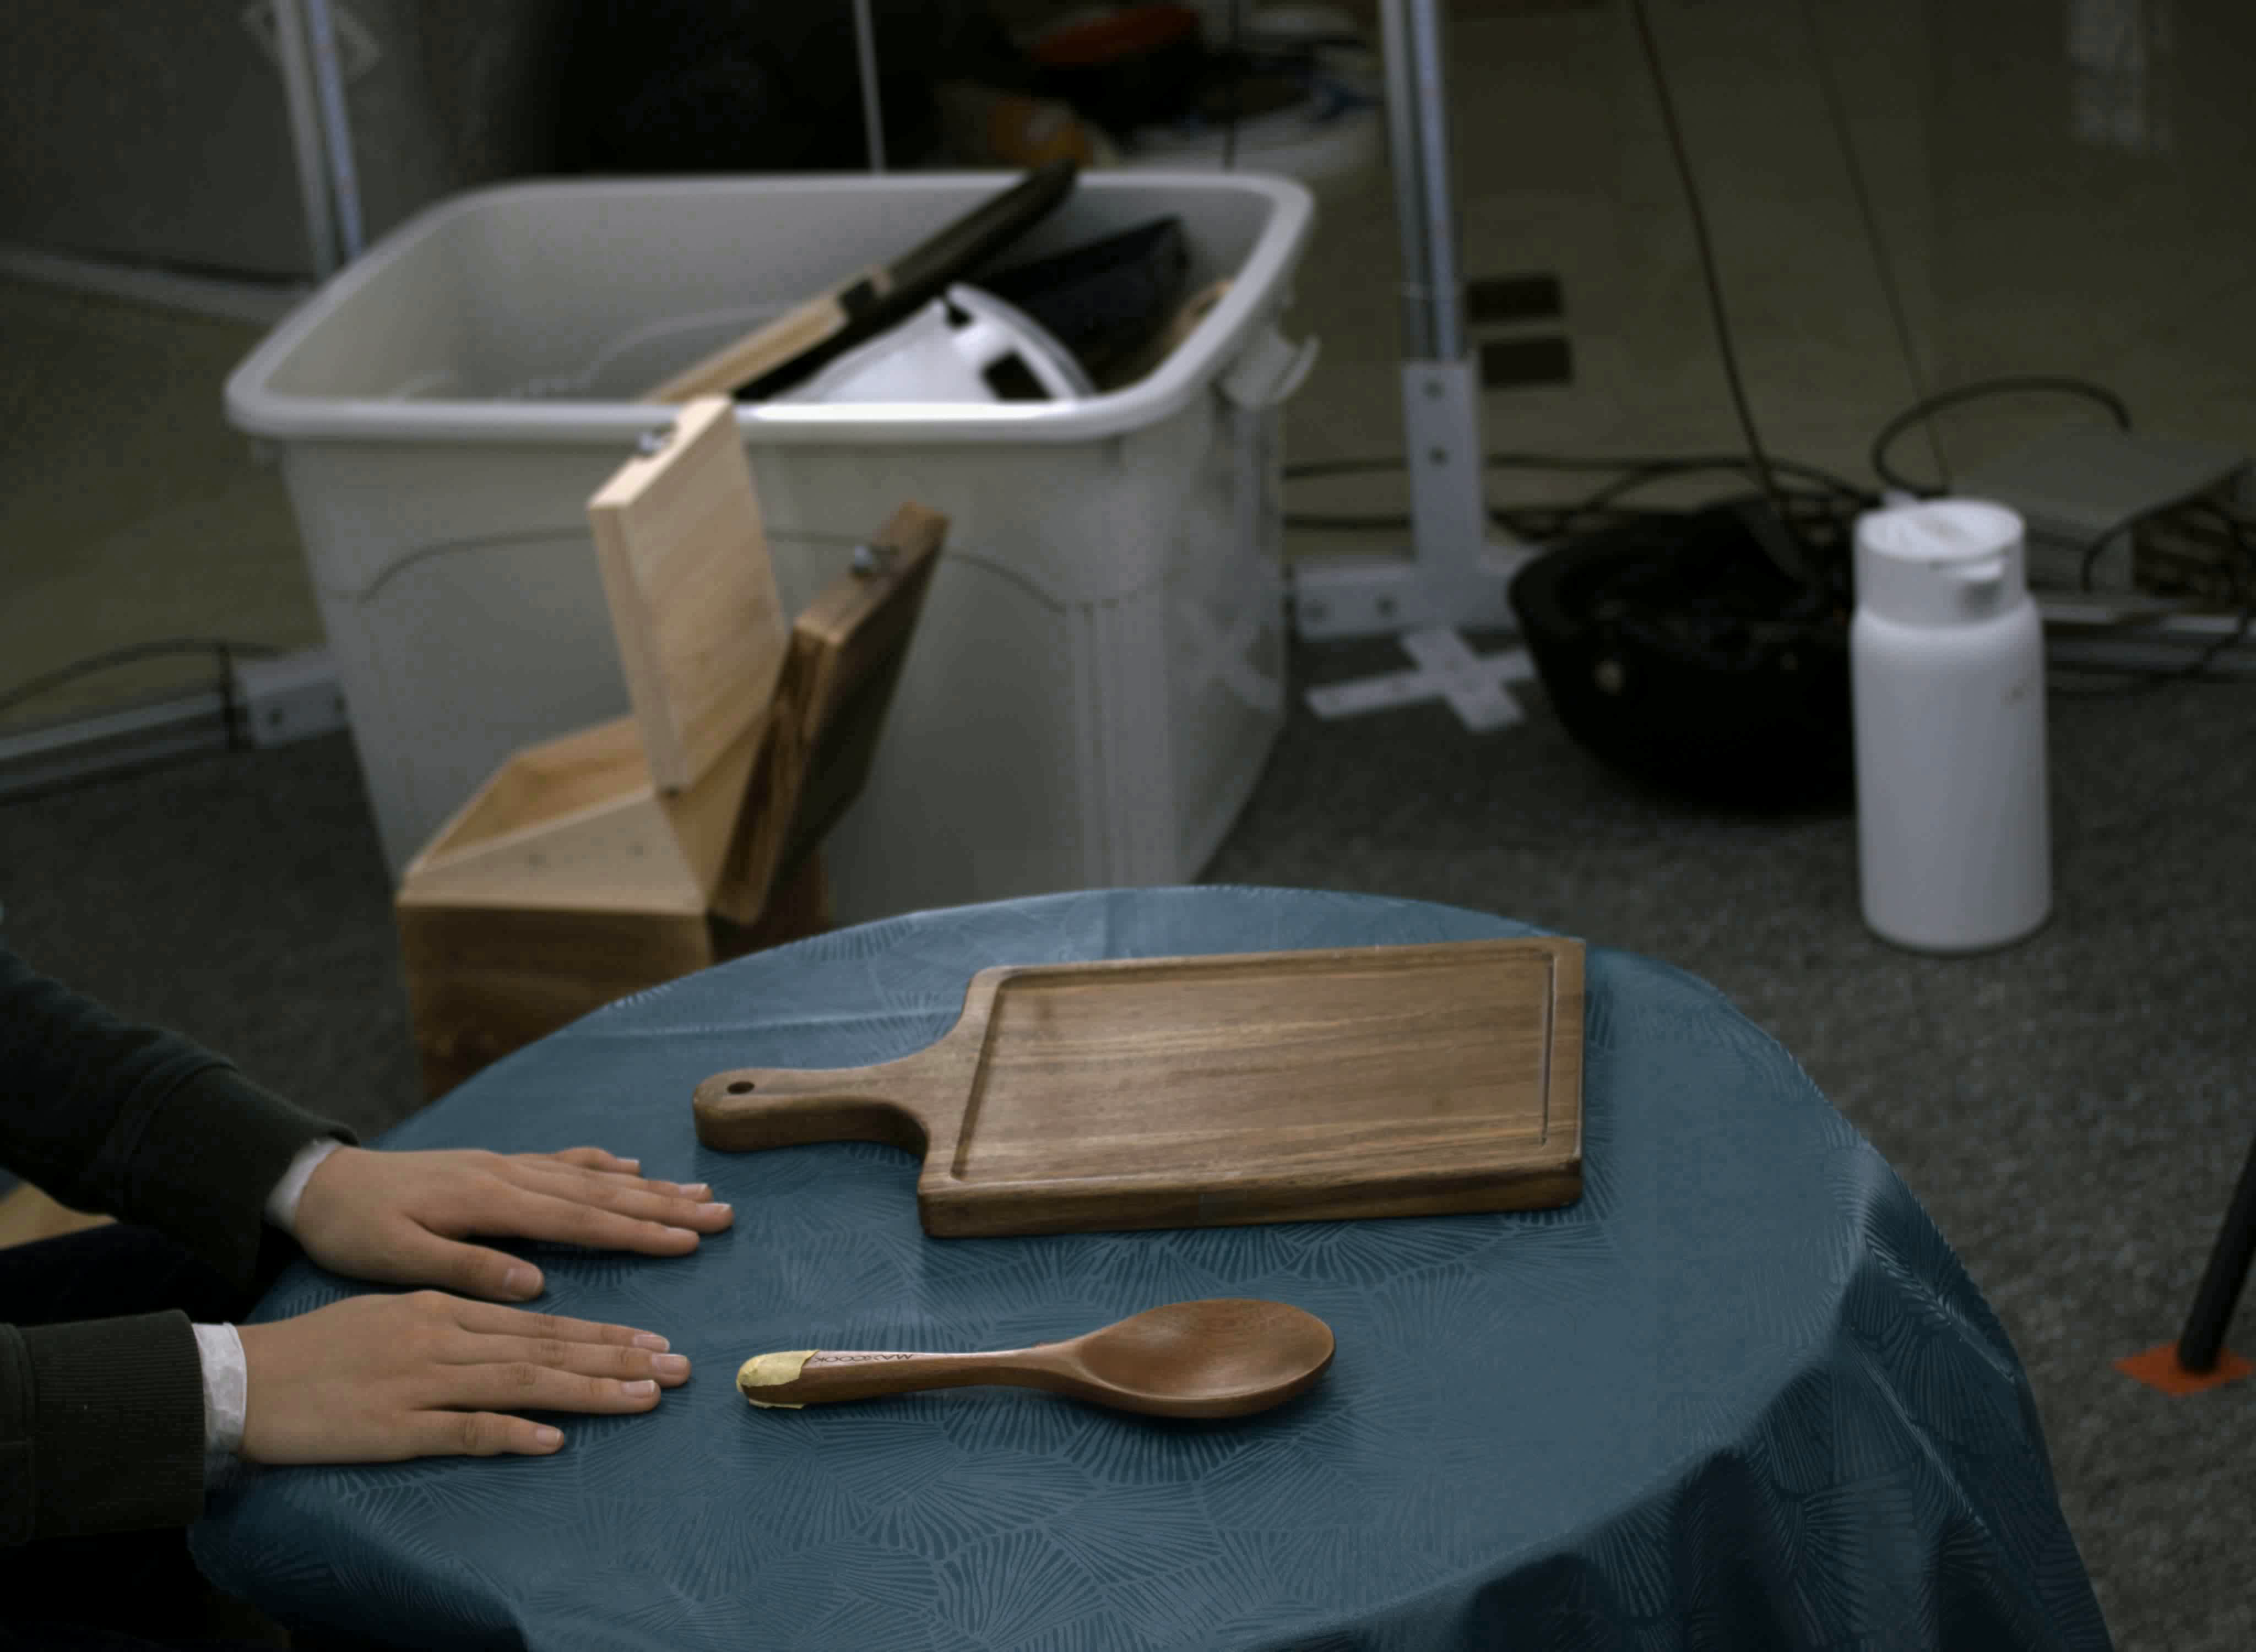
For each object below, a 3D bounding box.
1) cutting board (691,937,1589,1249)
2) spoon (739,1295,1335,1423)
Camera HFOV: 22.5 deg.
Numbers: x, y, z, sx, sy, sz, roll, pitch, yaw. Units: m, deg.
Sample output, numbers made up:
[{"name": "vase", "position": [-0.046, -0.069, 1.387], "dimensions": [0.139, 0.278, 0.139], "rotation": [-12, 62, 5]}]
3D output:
[{"name": "cutting board", "position": [0.004, 0.104, 2.207], "dimensions": [0.351, 0.023, 0.198], "rotation": [-4, 26, 7]}, {"name": "spoon", "position": [-0.033, 0.193, 2.023], "dimensions": [0.215, 0.017, 0.074], "rotation": [-2, 27, 9]}]
